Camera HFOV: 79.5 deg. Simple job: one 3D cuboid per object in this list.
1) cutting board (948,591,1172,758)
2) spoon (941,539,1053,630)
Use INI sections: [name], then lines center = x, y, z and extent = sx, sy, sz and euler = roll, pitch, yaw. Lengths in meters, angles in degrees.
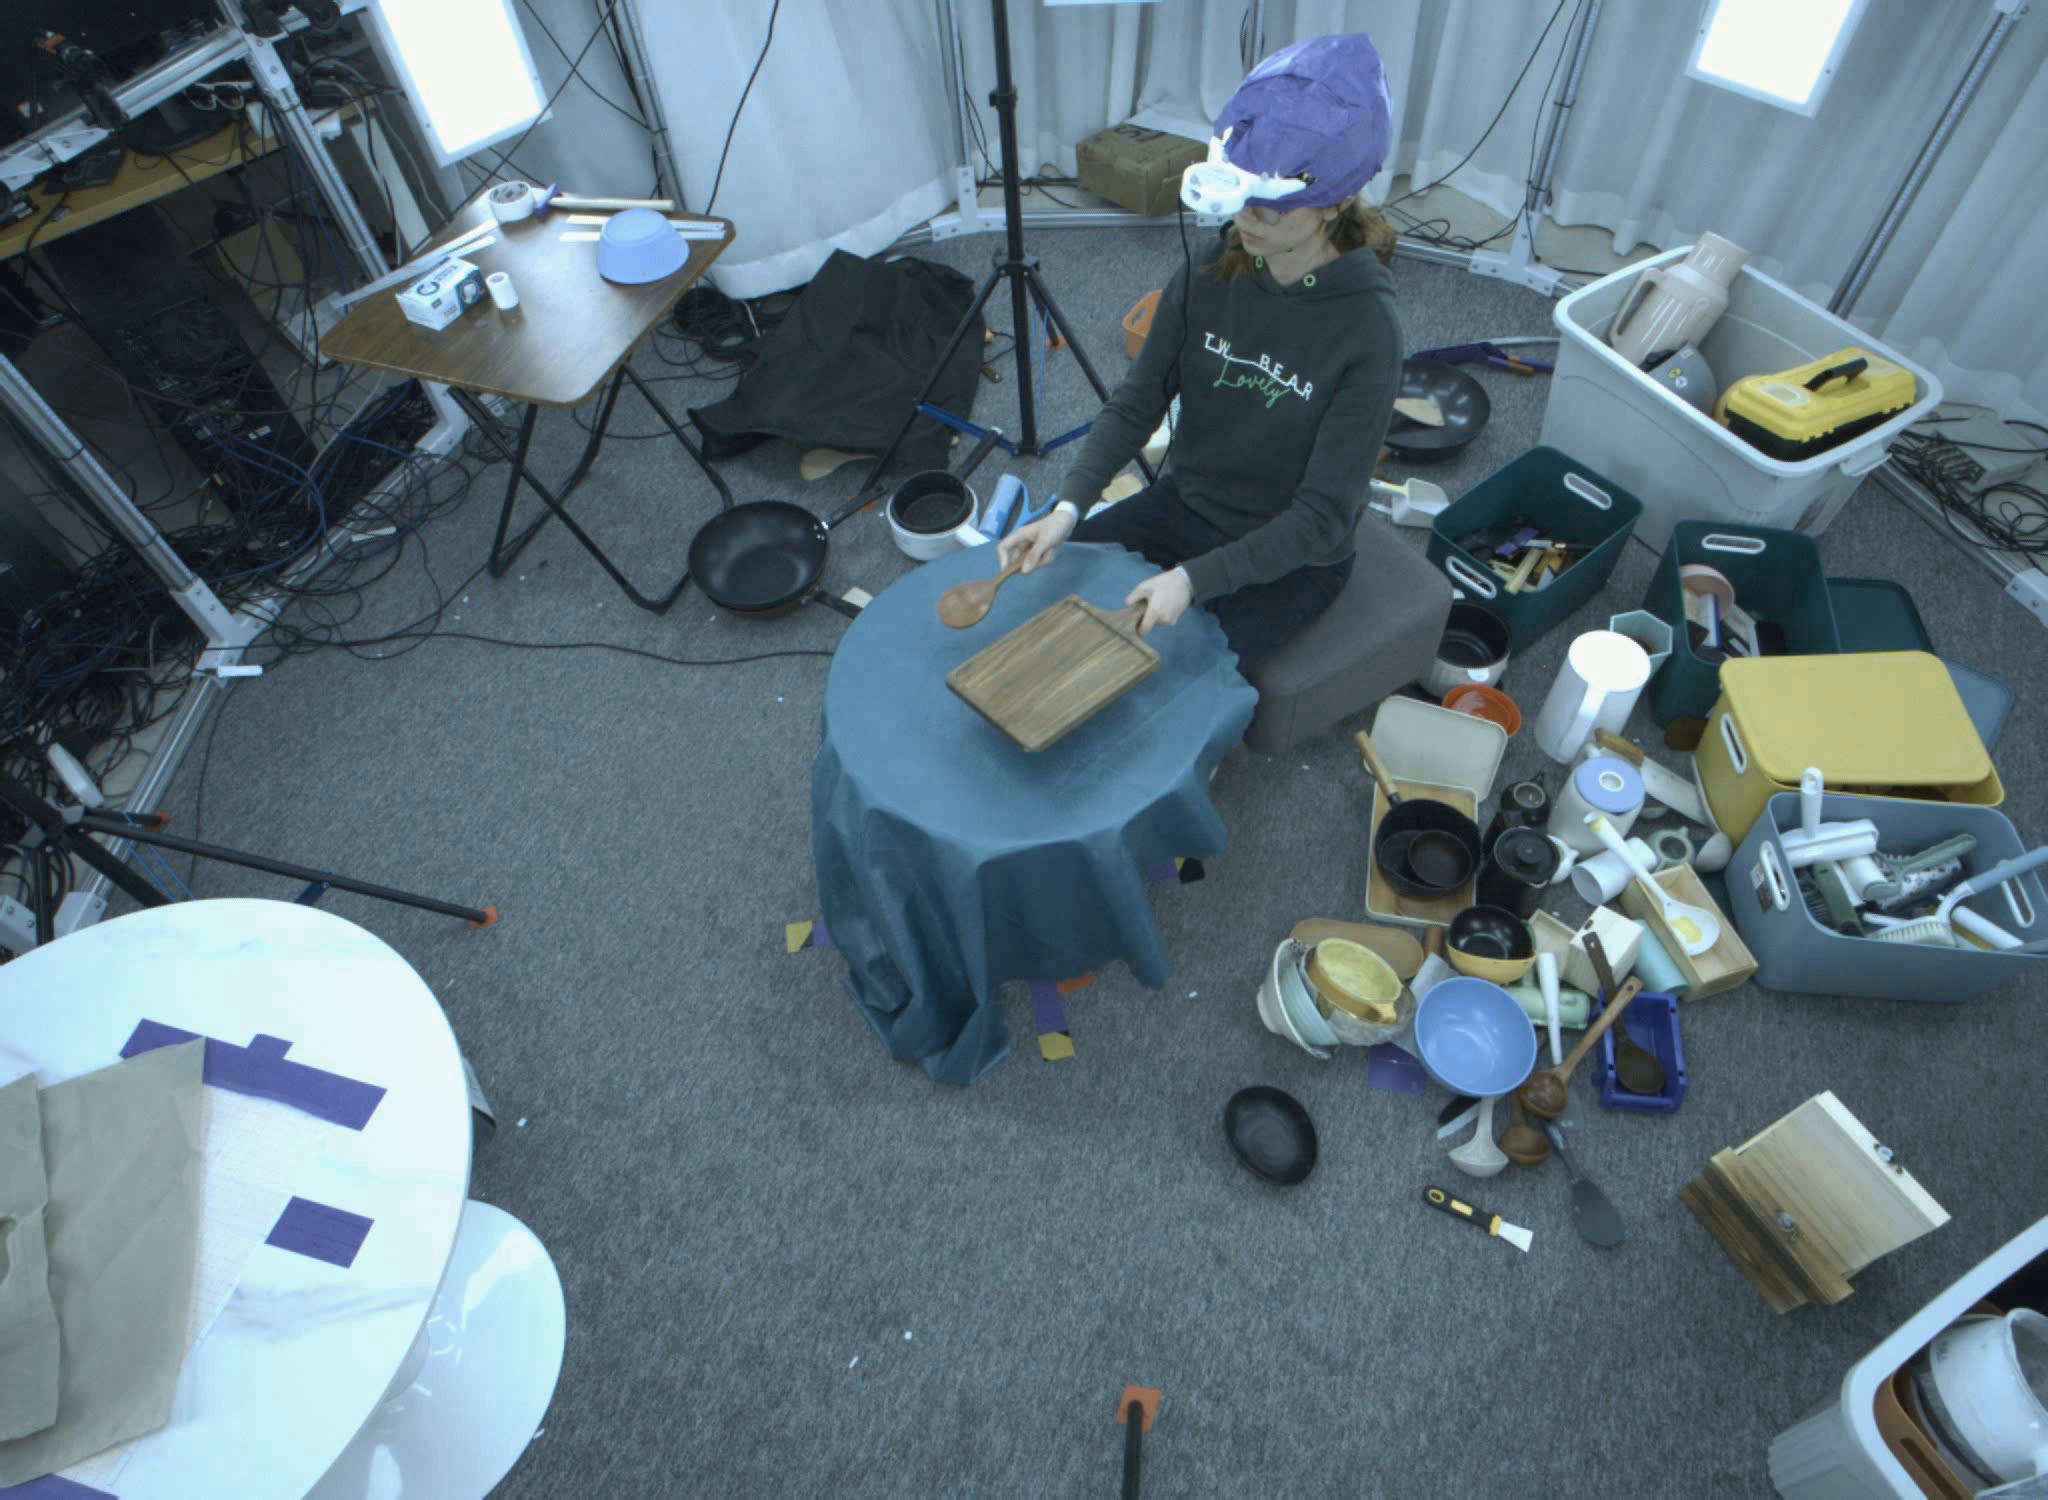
[cutting board]
center = 0.084, -0.135, 1.774
extent = 0.355, 0.023, 0.197
euler = -35, 55, -23
[spoon]
center = -0.038, -0.254, 1.871
extent = 0.217, 0.017, 0.074
euler = -41, 67, -17
